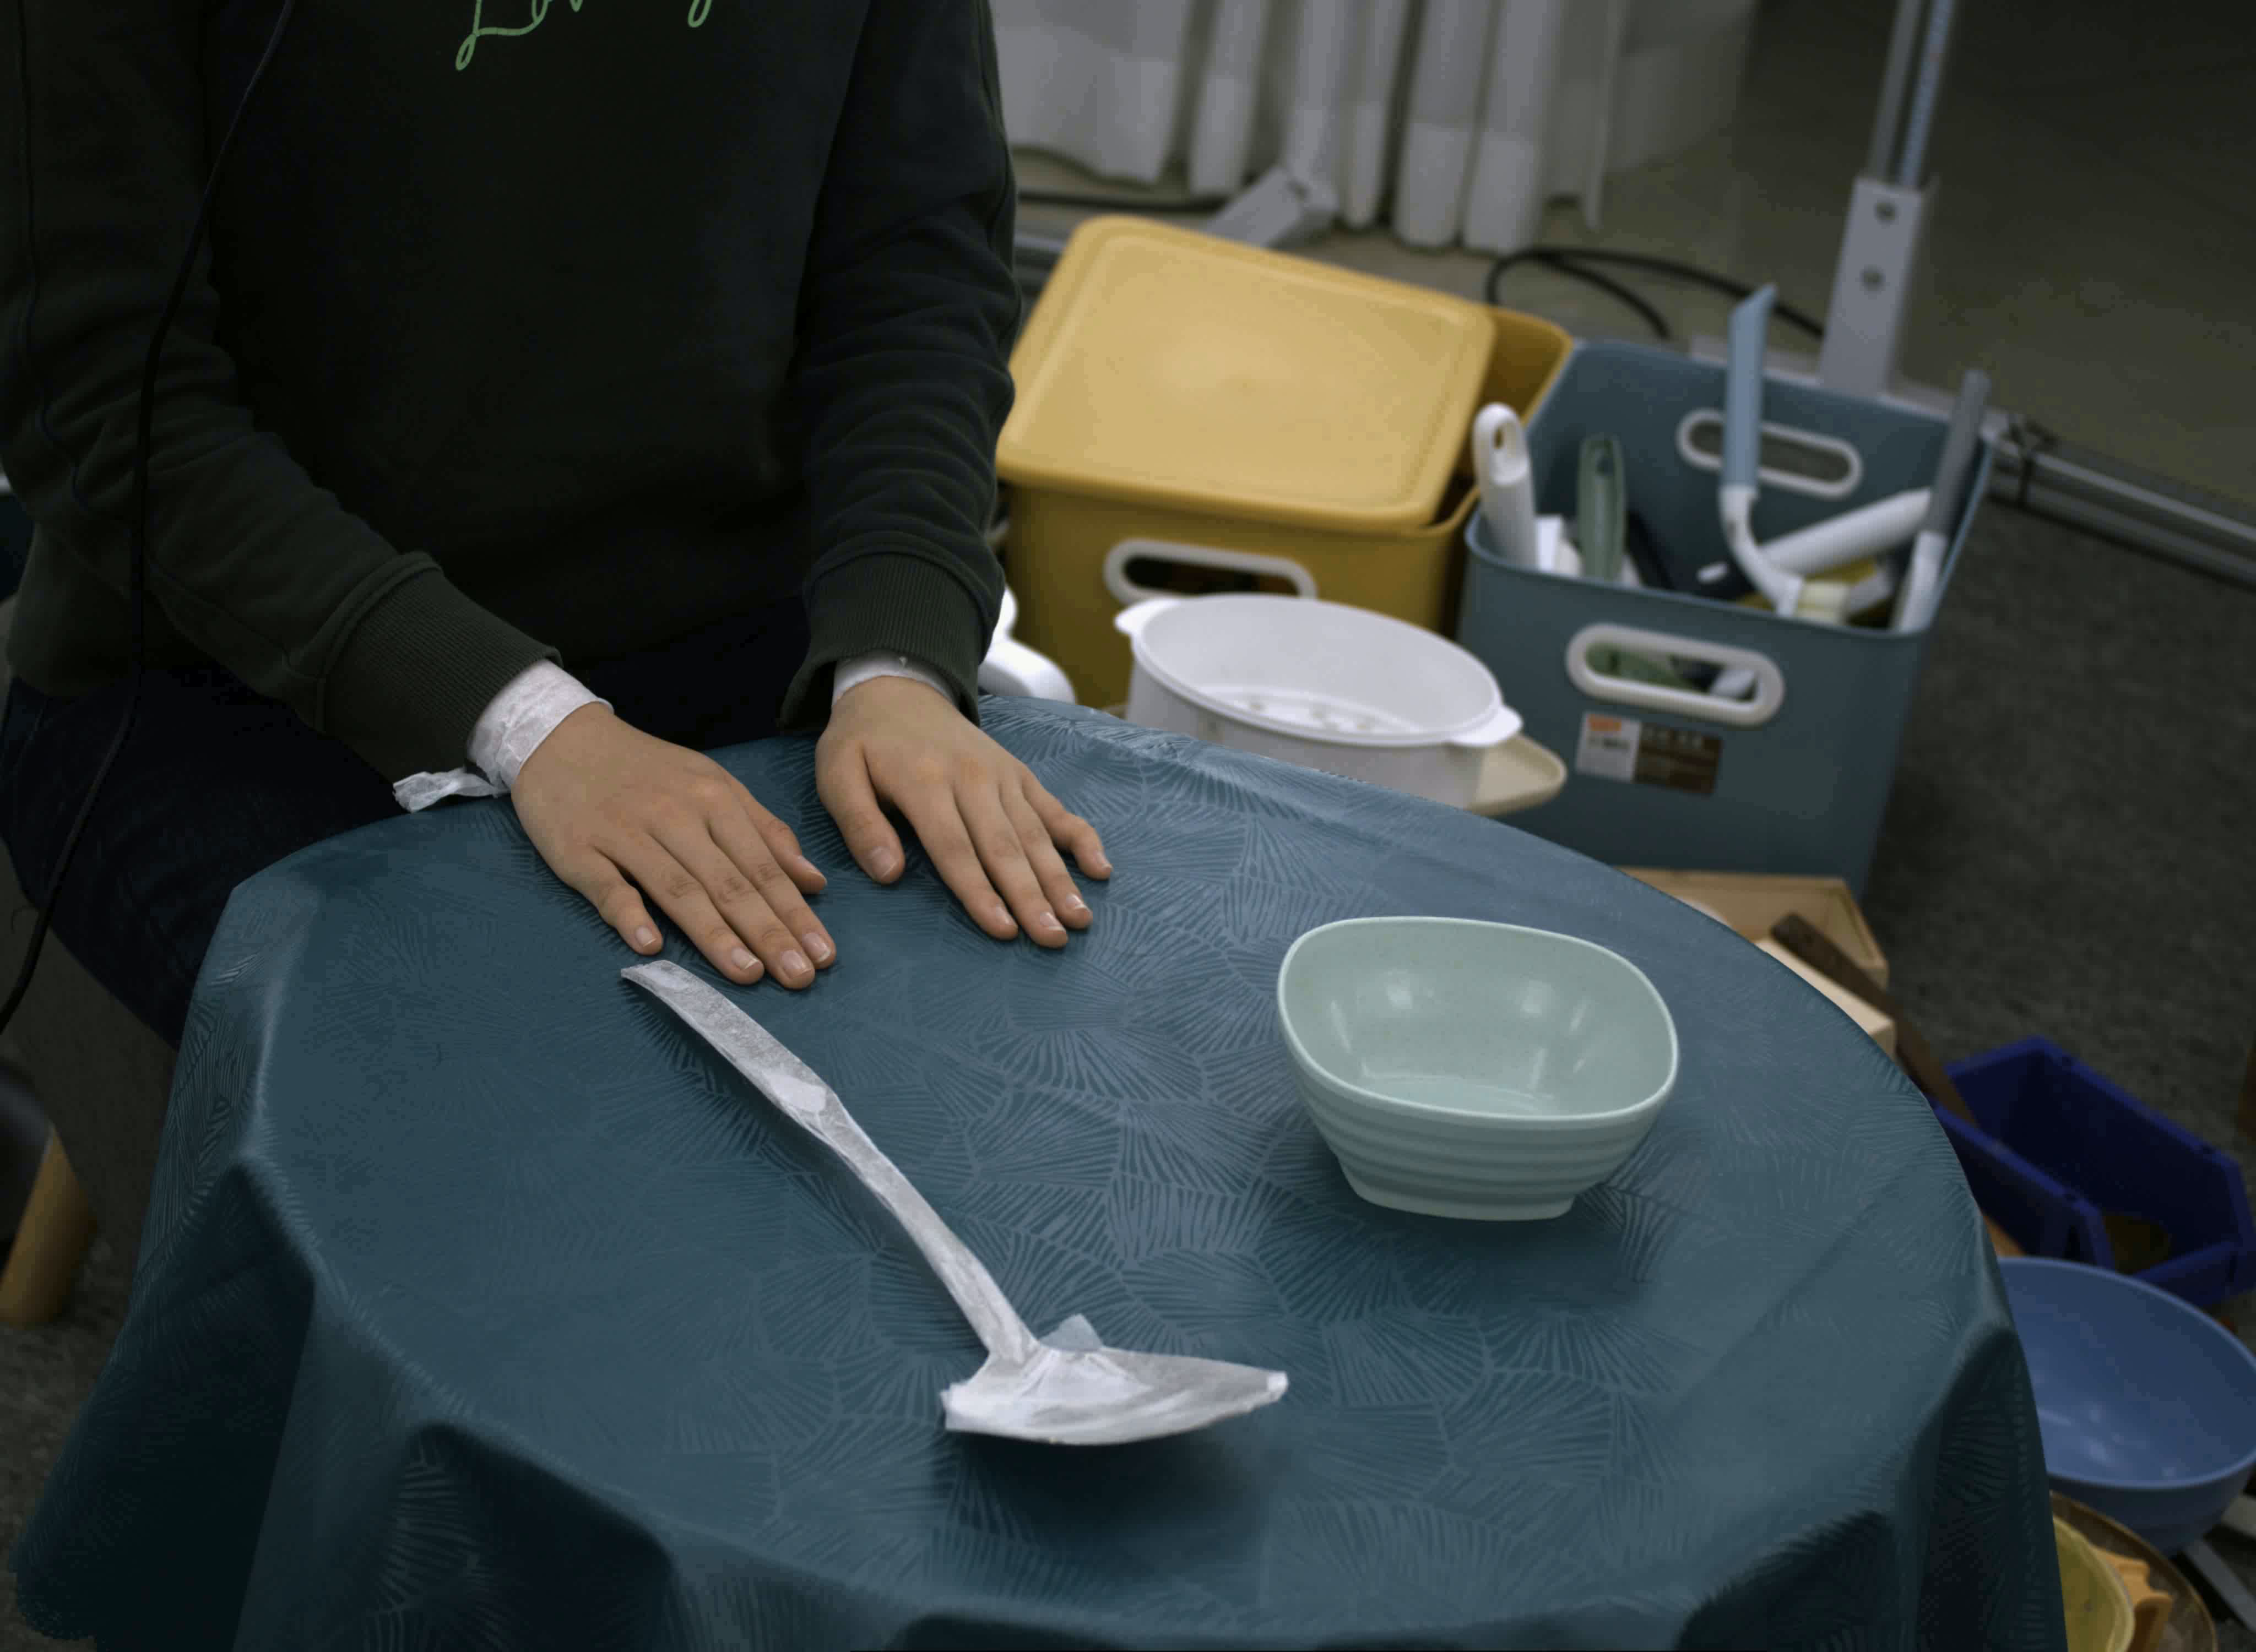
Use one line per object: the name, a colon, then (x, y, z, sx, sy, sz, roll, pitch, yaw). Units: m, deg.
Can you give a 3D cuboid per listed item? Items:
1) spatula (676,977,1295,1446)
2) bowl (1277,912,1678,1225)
spatula: (-0.071, 0.118, 1.751, 0.098, 0.044, 0.368, -11, 32, -27)
bowl: (0.116, 0.090, 1.831, 0.151, 0.058, 0.152, 7, 28, -4)
